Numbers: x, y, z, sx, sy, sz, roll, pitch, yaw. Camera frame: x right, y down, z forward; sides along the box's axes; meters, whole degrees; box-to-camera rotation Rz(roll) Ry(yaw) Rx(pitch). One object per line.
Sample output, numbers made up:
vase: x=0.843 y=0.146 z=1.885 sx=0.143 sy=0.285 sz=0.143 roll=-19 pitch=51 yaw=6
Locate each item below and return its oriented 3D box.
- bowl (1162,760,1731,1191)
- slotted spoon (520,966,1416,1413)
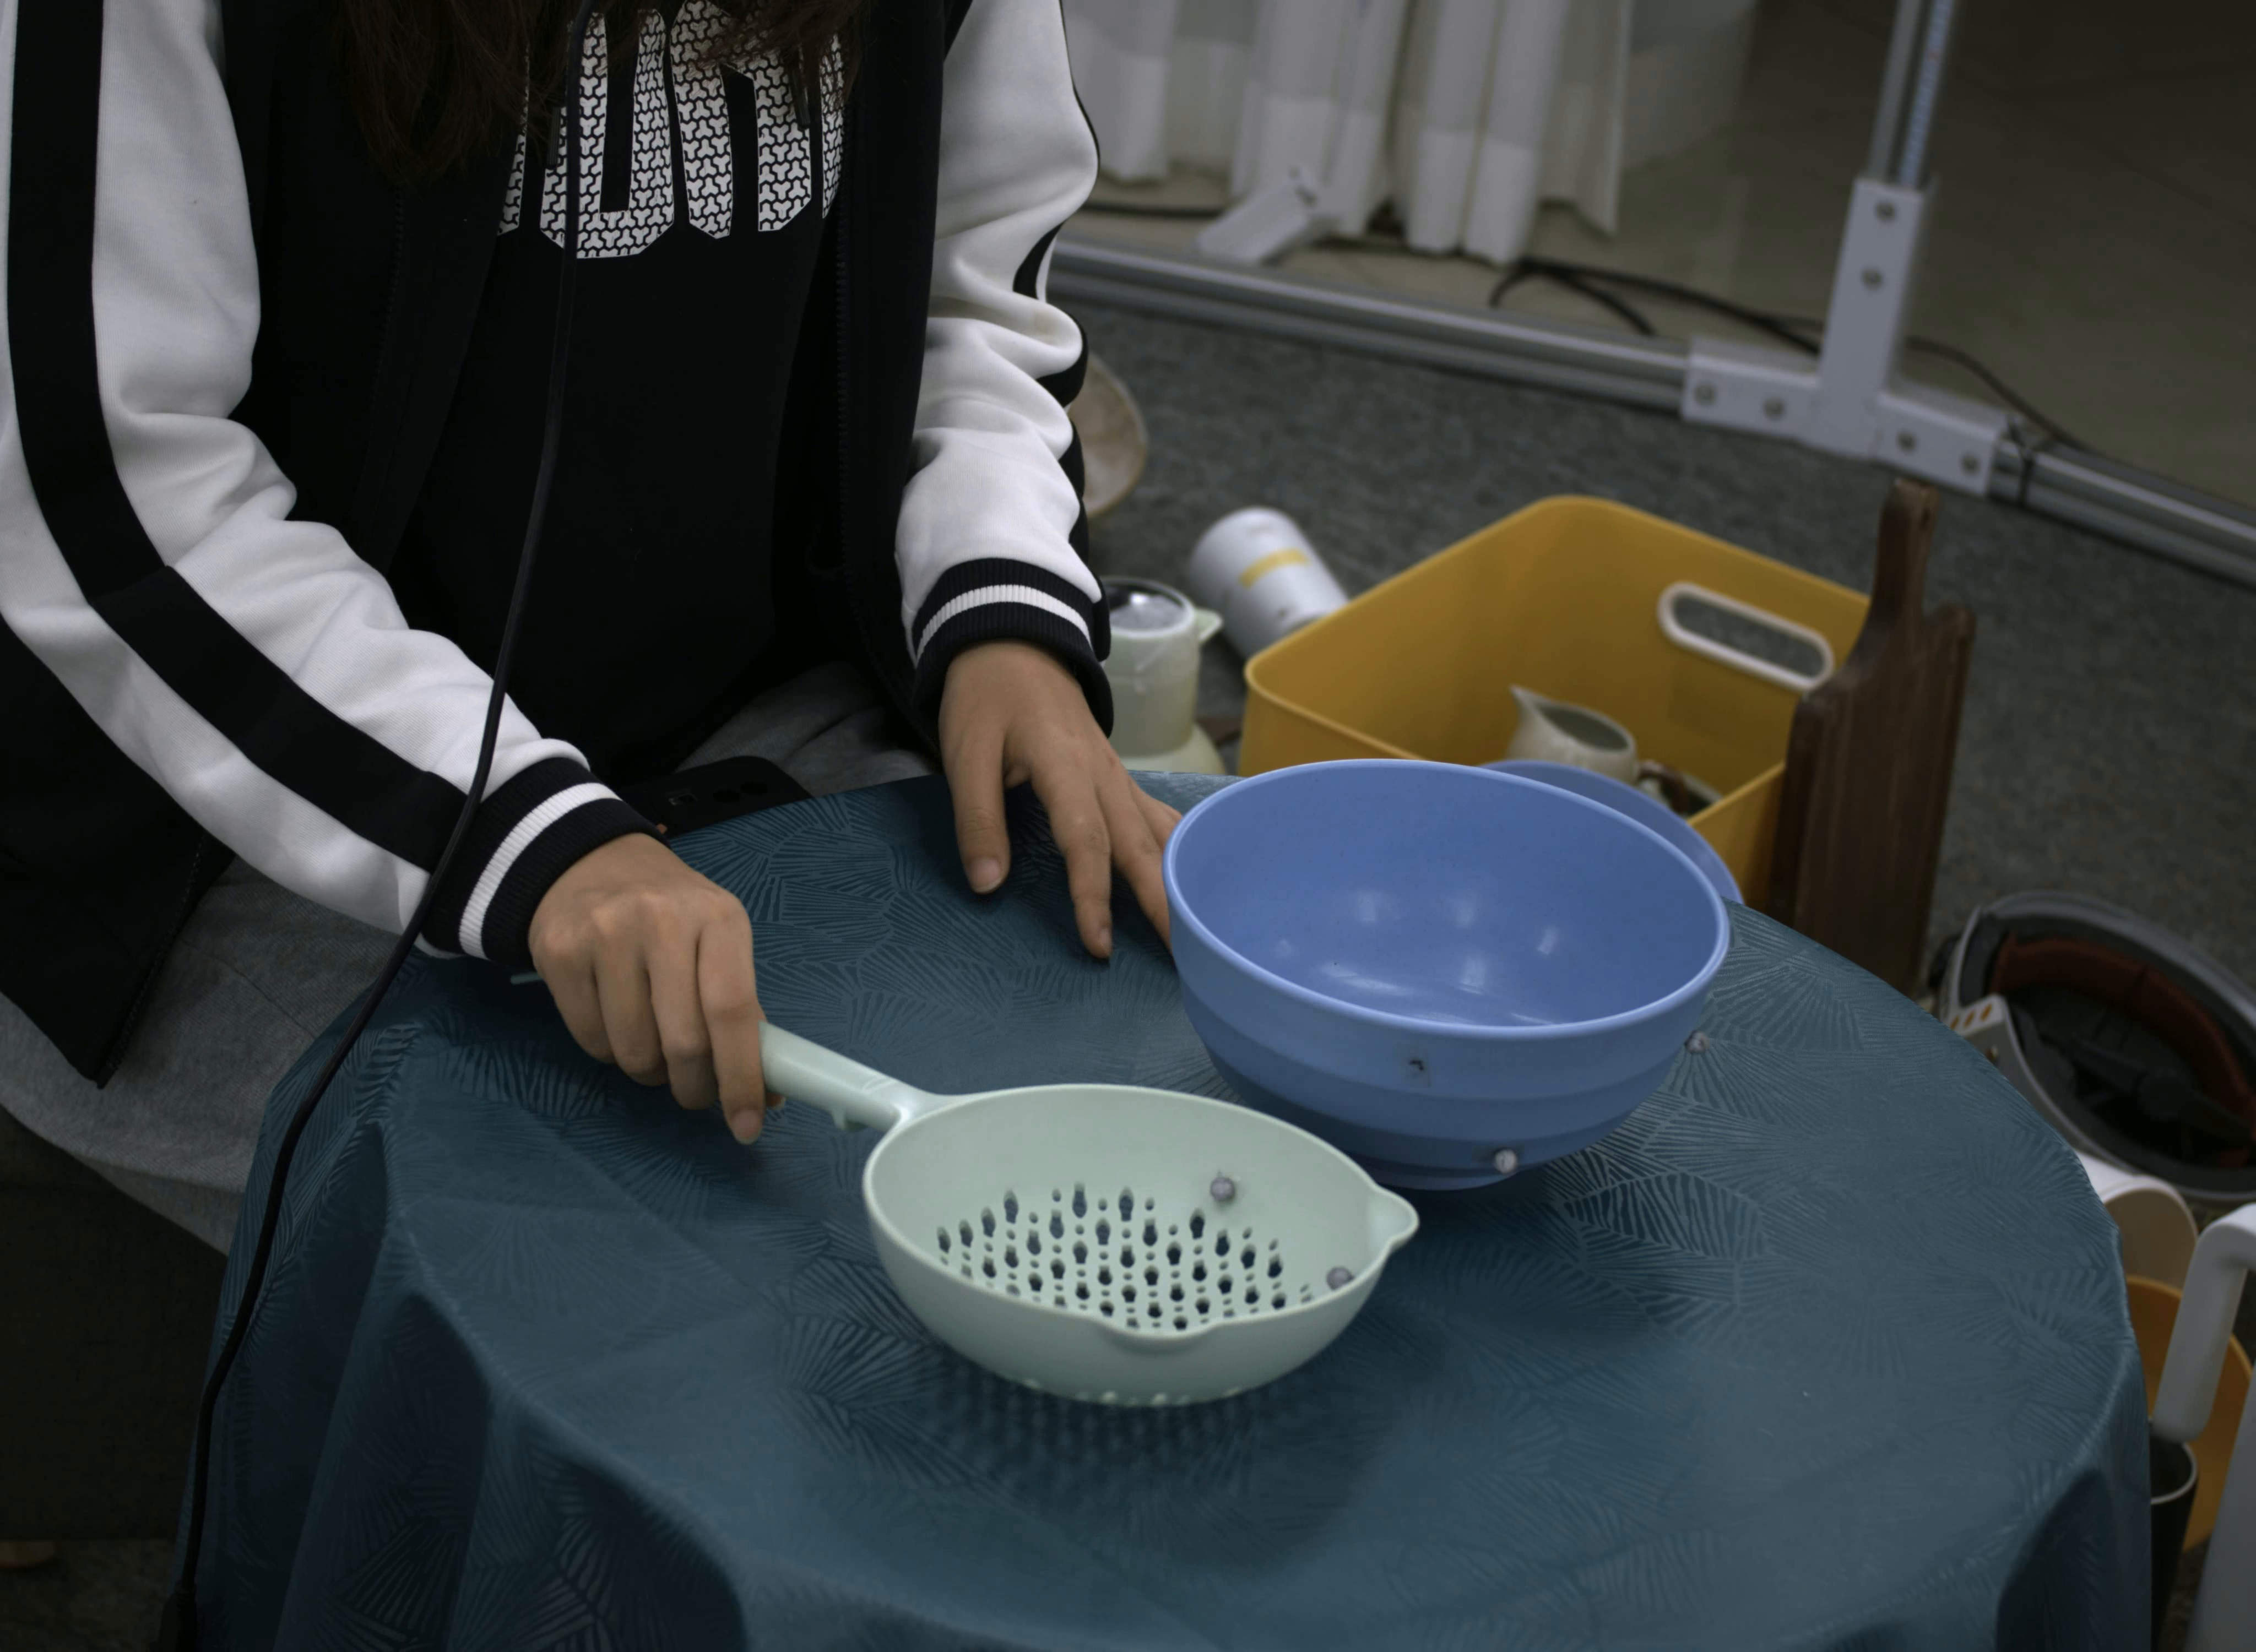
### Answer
bowl: x=0.104 y=0.063 z=1.840 sx=0.196 sy=0.095 sz=0.198 roll=5 pitch=27 yaw=-3
slotted spoon: x=-0.075 y=0.103 z=1.750 sx=0.361 sy=0.075 sz=0.168 roll=29 pitch=32 yaw=34
